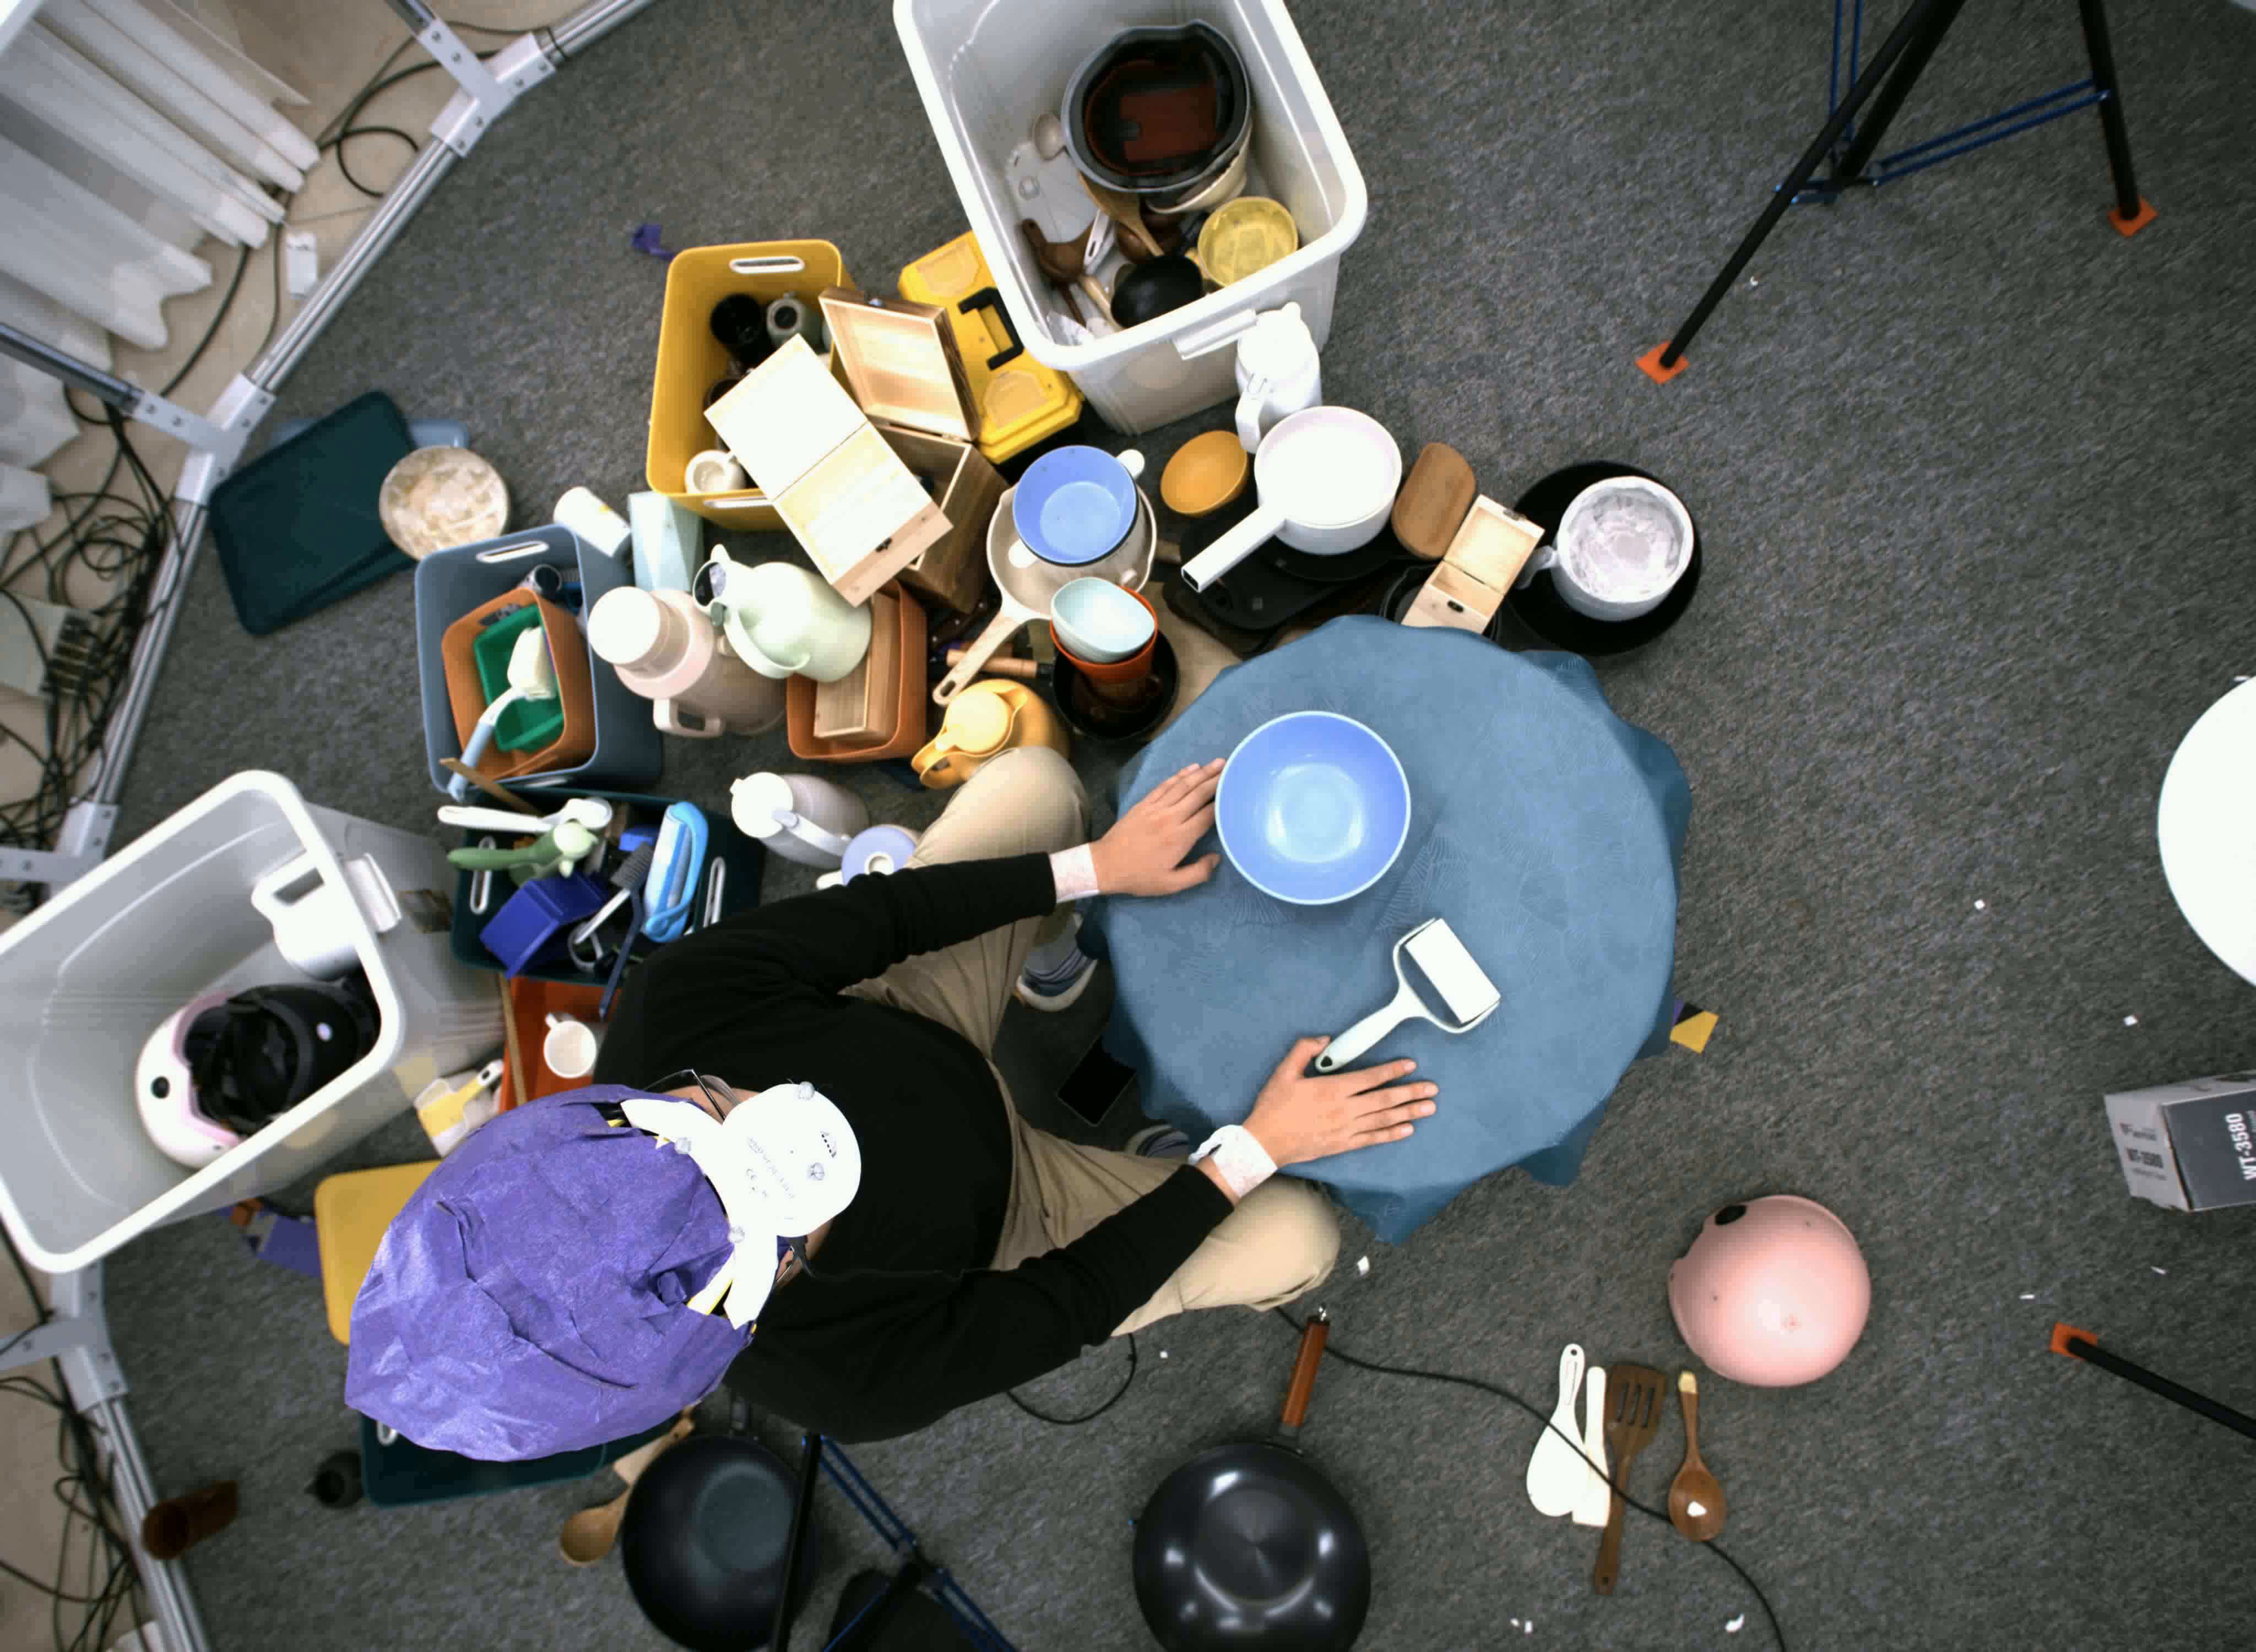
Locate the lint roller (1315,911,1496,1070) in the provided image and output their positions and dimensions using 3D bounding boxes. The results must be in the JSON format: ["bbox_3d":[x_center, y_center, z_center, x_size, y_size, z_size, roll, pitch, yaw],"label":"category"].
[{"bbox_3d":[0.271,0.185,1.431,0.199,0.048,0.116,-38,82,8],"label":"lint roller"}]

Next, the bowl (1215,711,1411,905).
[{"bbox_3d":[0.192,-0.015,1.431,0.197,0.095,0.196,-1,87,10],"label":"bowl"}]
